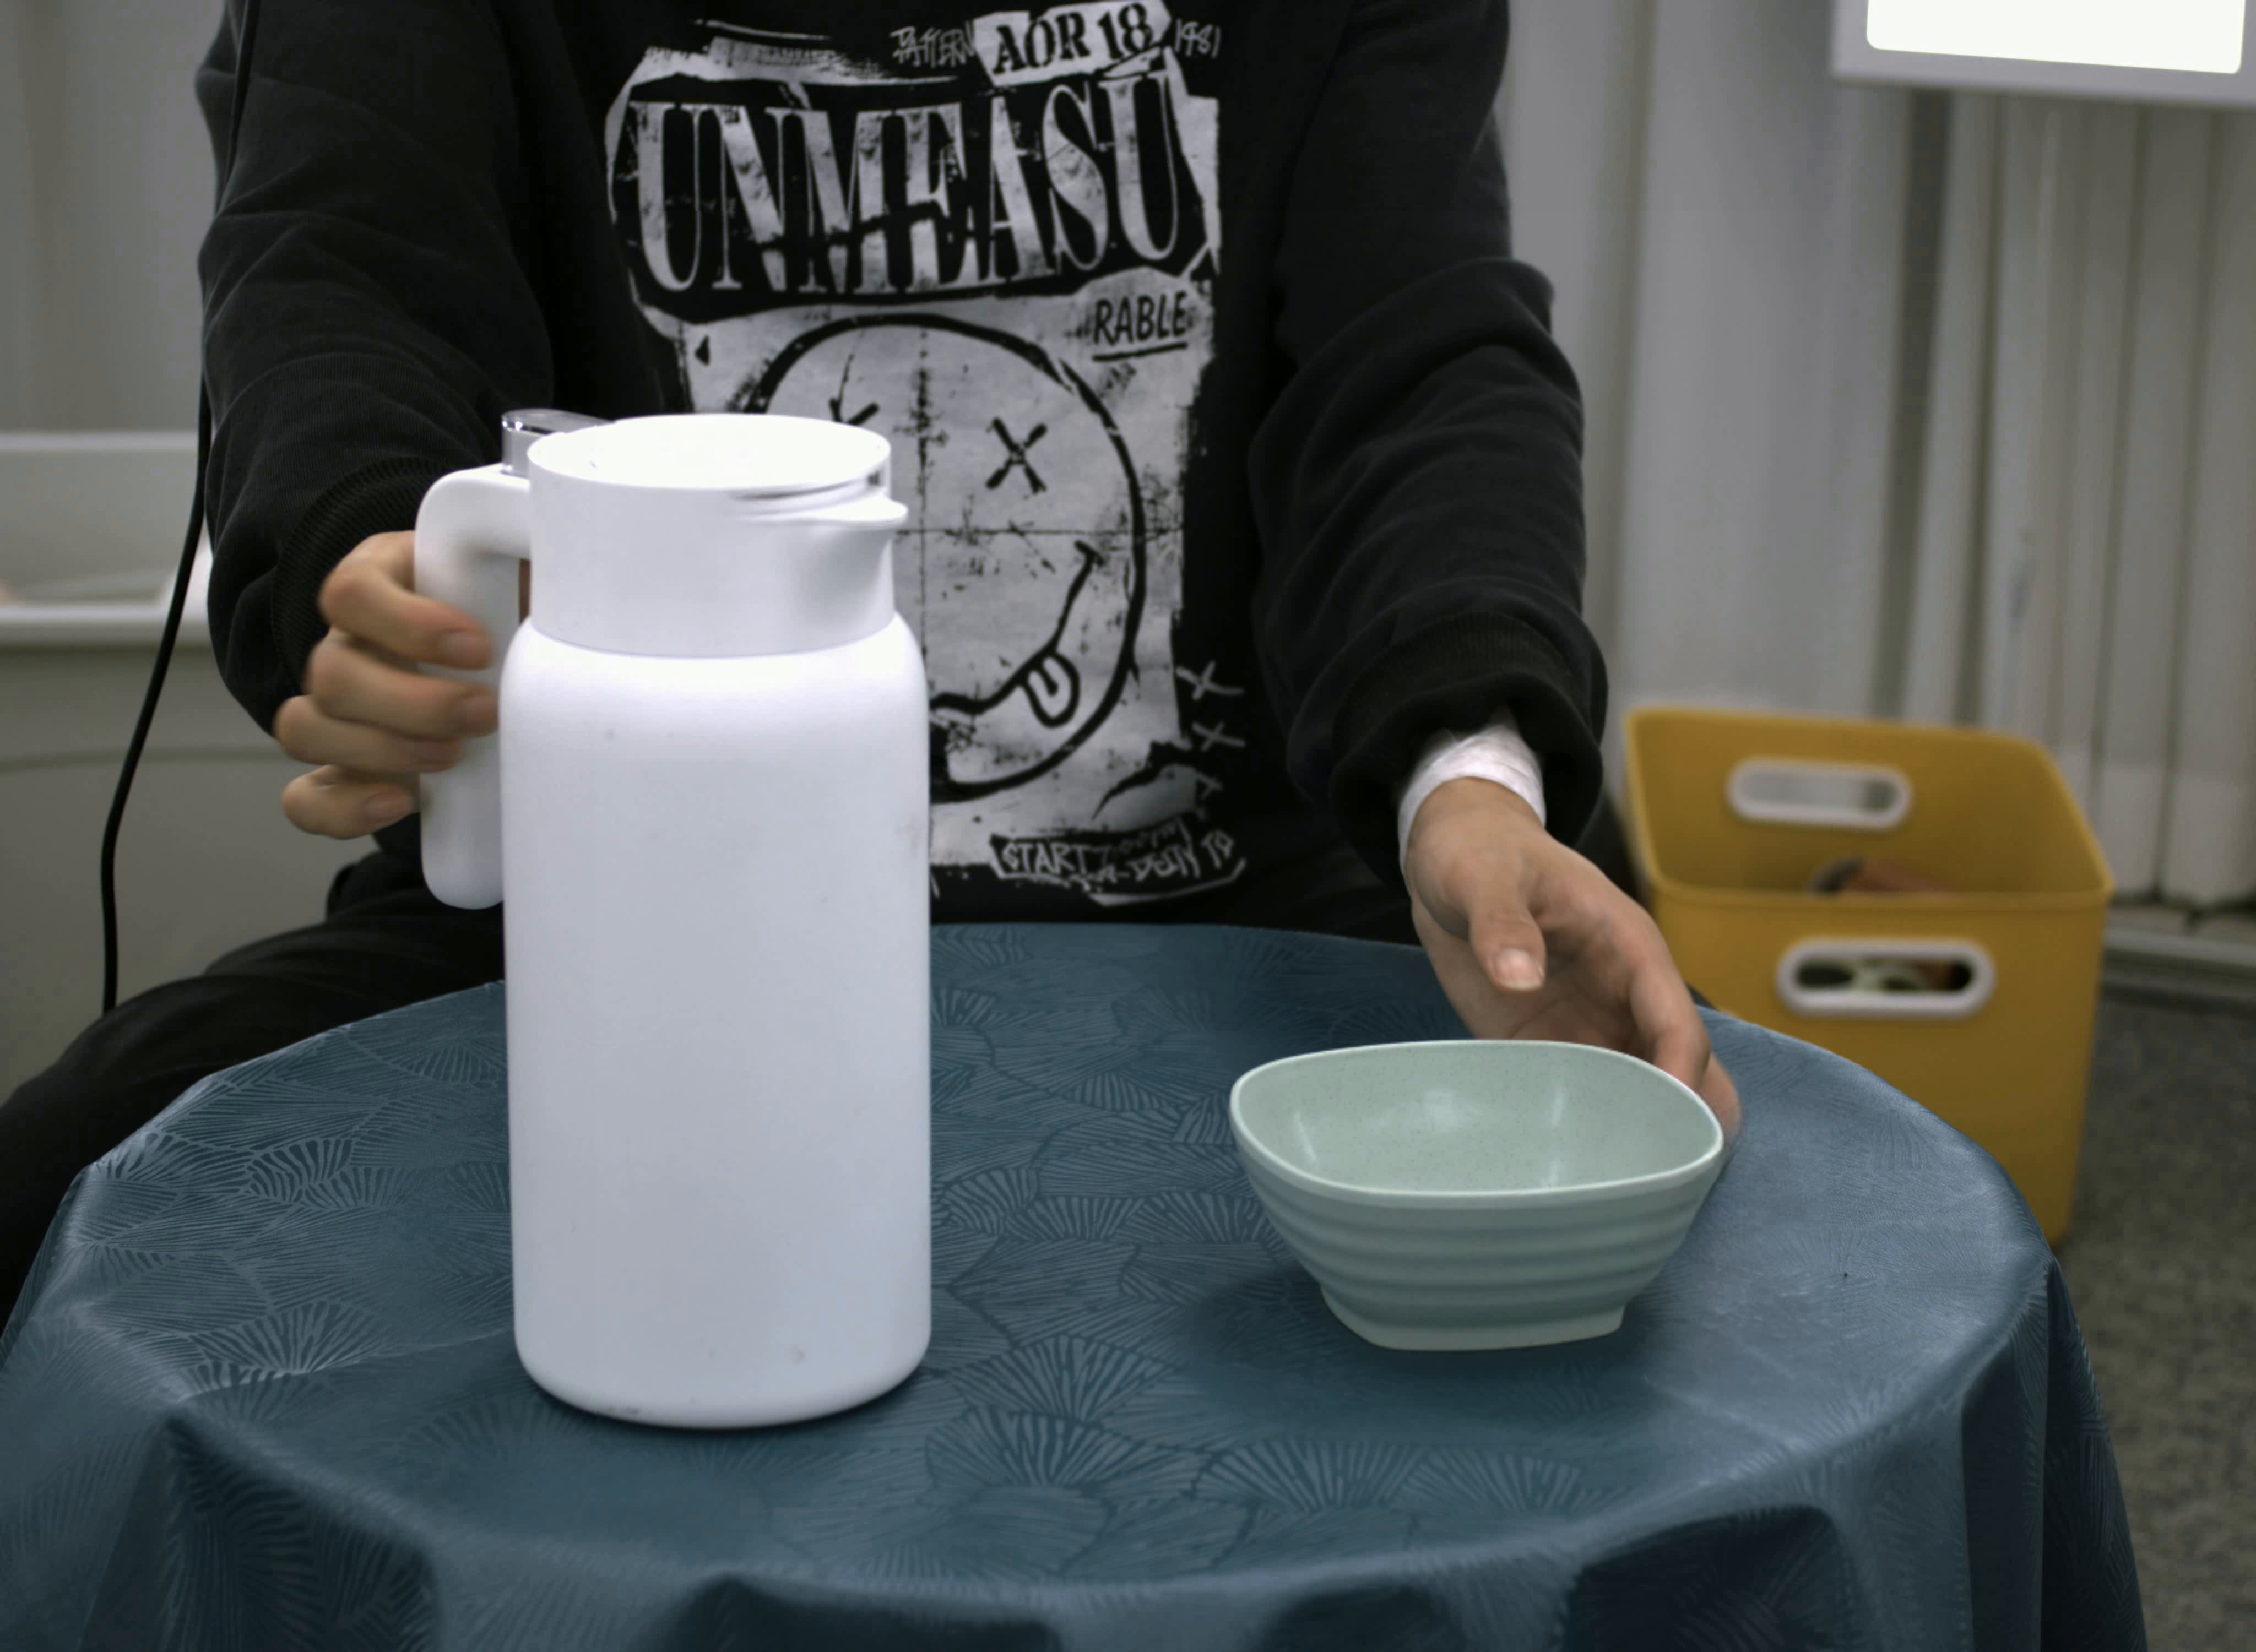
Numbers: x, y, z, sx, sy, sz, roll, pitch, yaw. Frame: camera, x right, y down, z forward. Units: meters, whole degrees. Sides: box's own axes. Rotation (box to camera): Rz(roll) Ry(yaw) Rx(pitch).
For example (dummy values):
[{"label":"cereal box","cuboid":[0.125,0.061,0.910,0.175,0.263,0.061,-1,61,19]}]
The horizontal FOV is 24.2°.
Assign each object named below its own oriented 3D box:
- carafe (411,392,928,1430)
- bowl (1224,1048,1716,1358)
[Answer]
[{"label":"carafe","cuboid":[-0.127,0.020,1.449,0.170,0.271,0.124,12,22,36]},{"label":"bowl","cuboid":[0.098,0.112,1.527,0.151,0.059,0.150,1,15,0]}]
